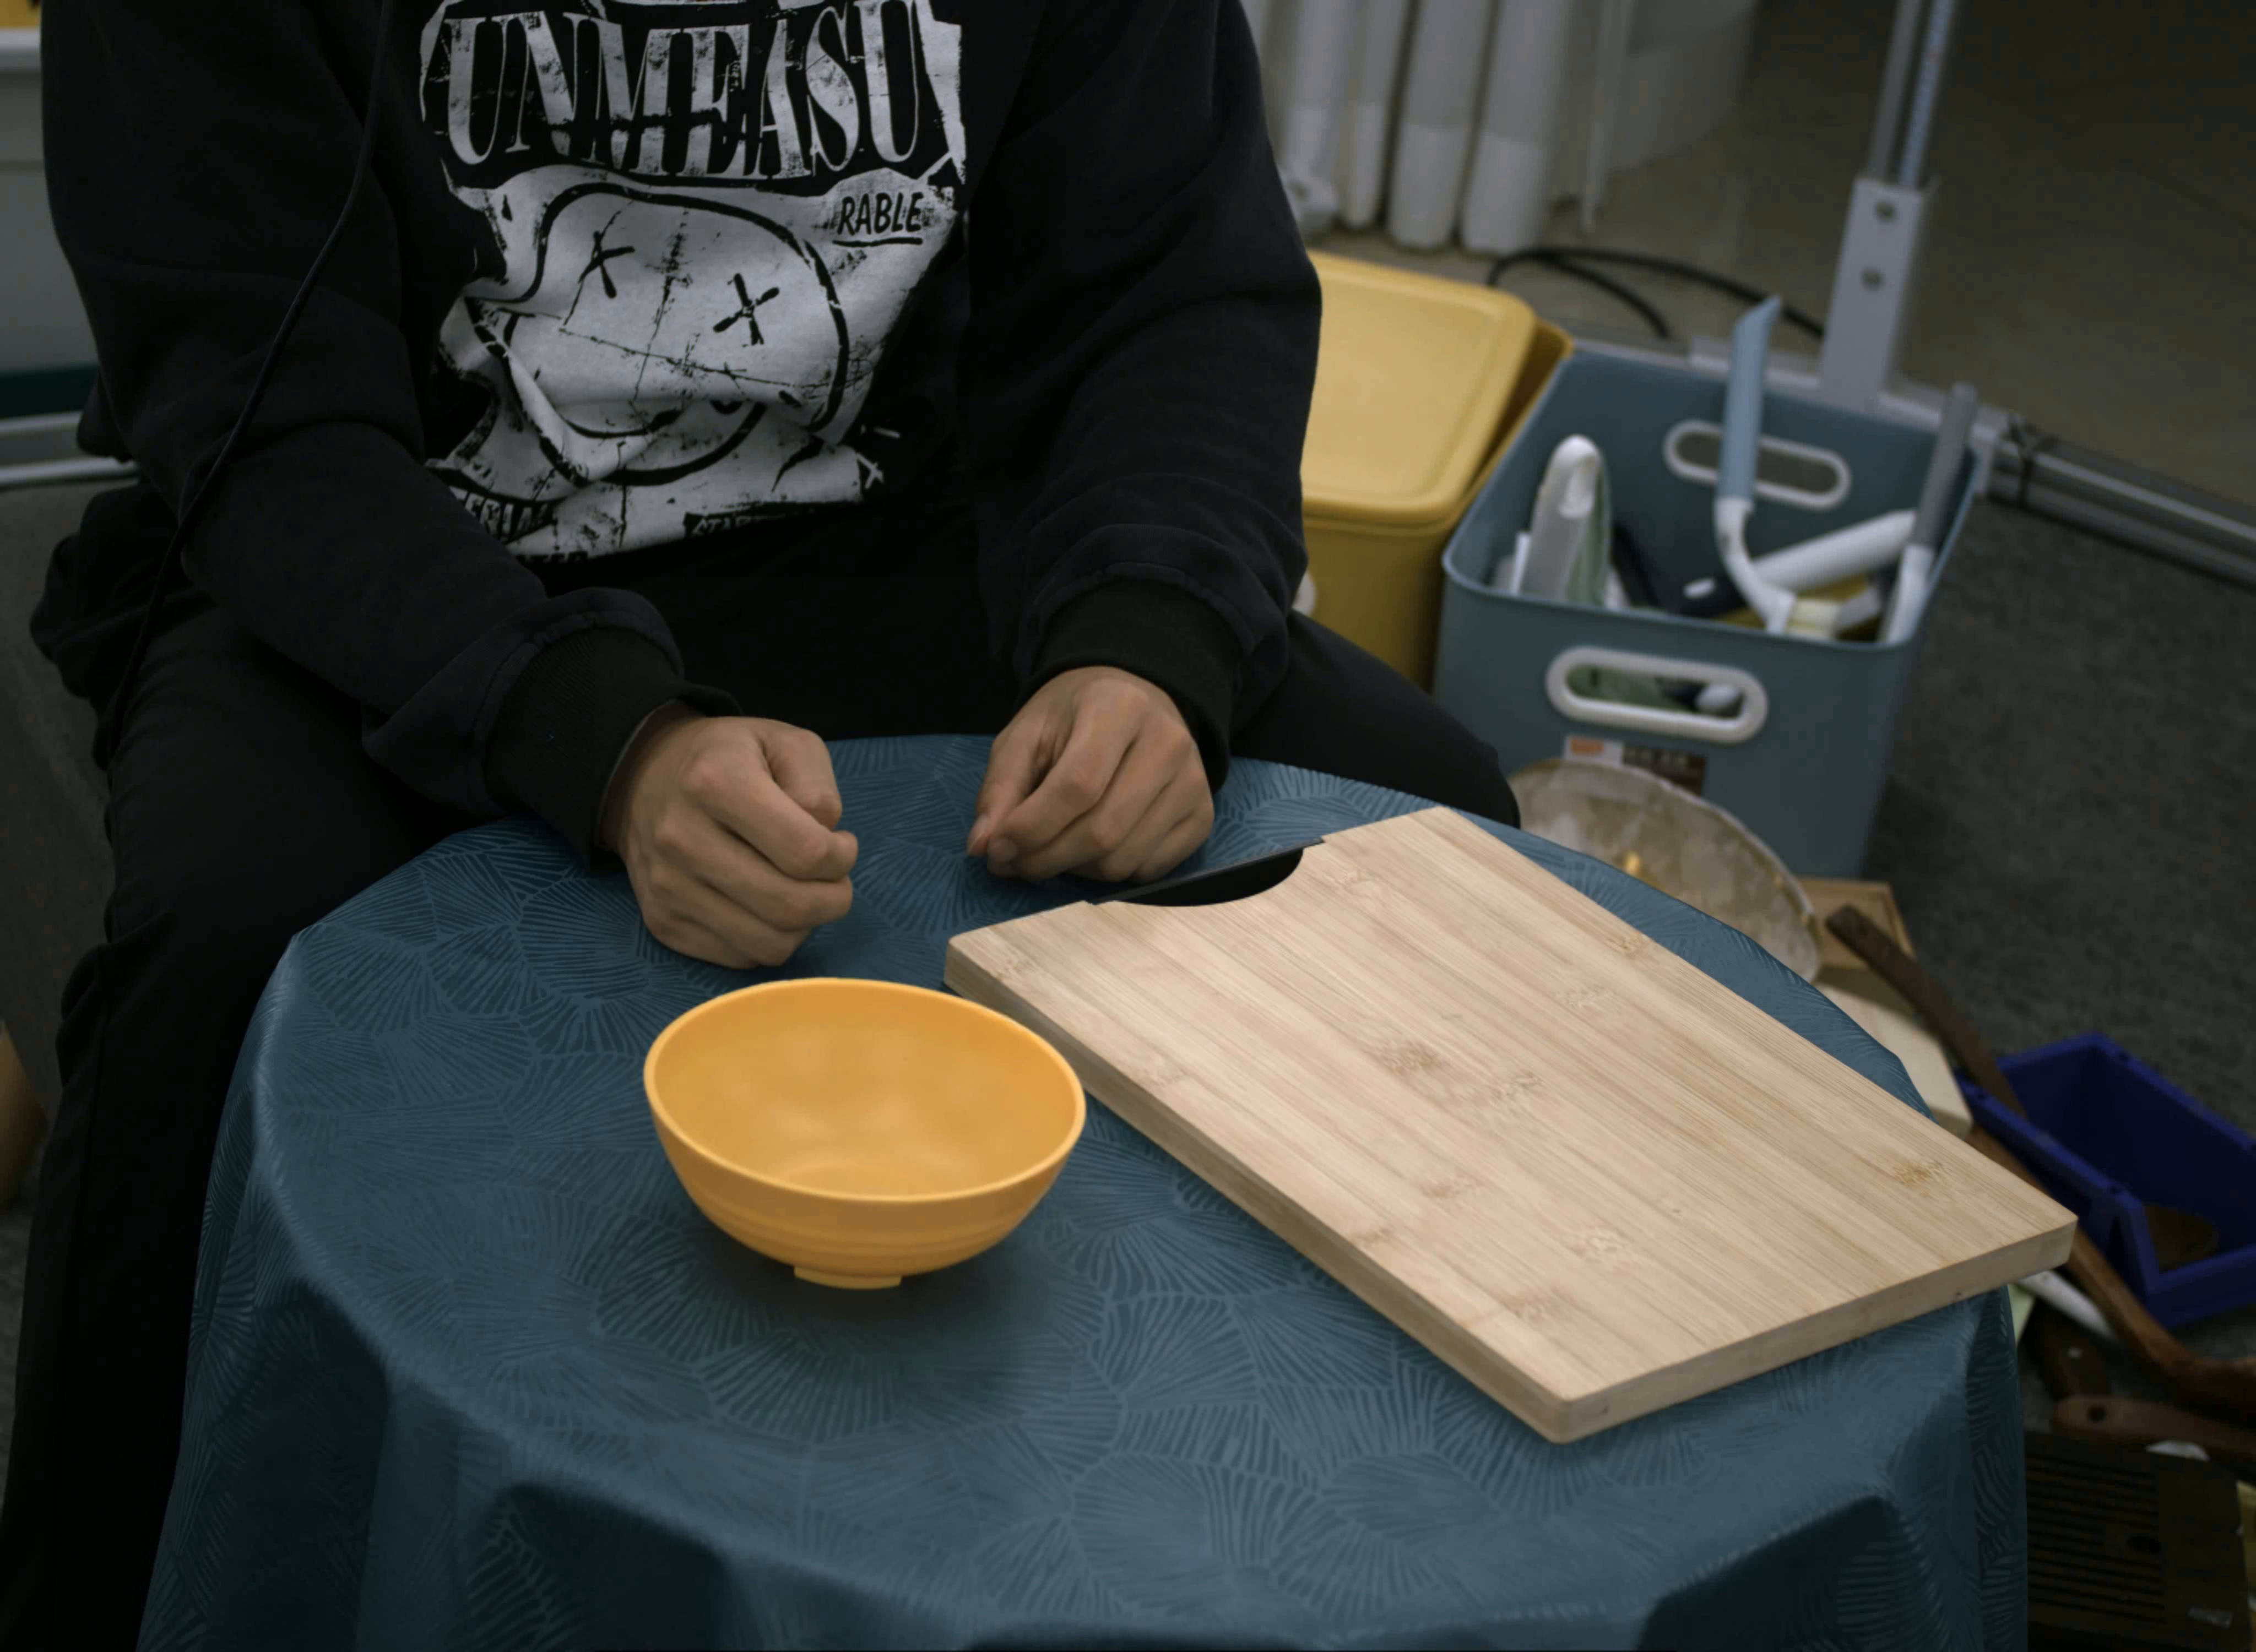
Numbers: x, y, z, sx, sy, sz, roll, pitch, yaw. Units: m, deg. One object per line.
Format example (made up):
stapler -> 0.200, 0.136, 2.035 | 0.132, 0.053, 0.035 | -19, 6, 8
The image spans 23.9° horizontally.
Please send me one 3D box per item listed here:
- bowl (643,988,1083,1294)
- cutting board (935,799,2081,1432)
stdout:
bowl -> -0.090, 0.111, 1.742 | 0.145, 0.060, 0.146 | 6, 24, -3
cutting board -> 0.127, 0.094, 1.871 | 0.249, 0.023, 0.351 | -15, 33, -36
